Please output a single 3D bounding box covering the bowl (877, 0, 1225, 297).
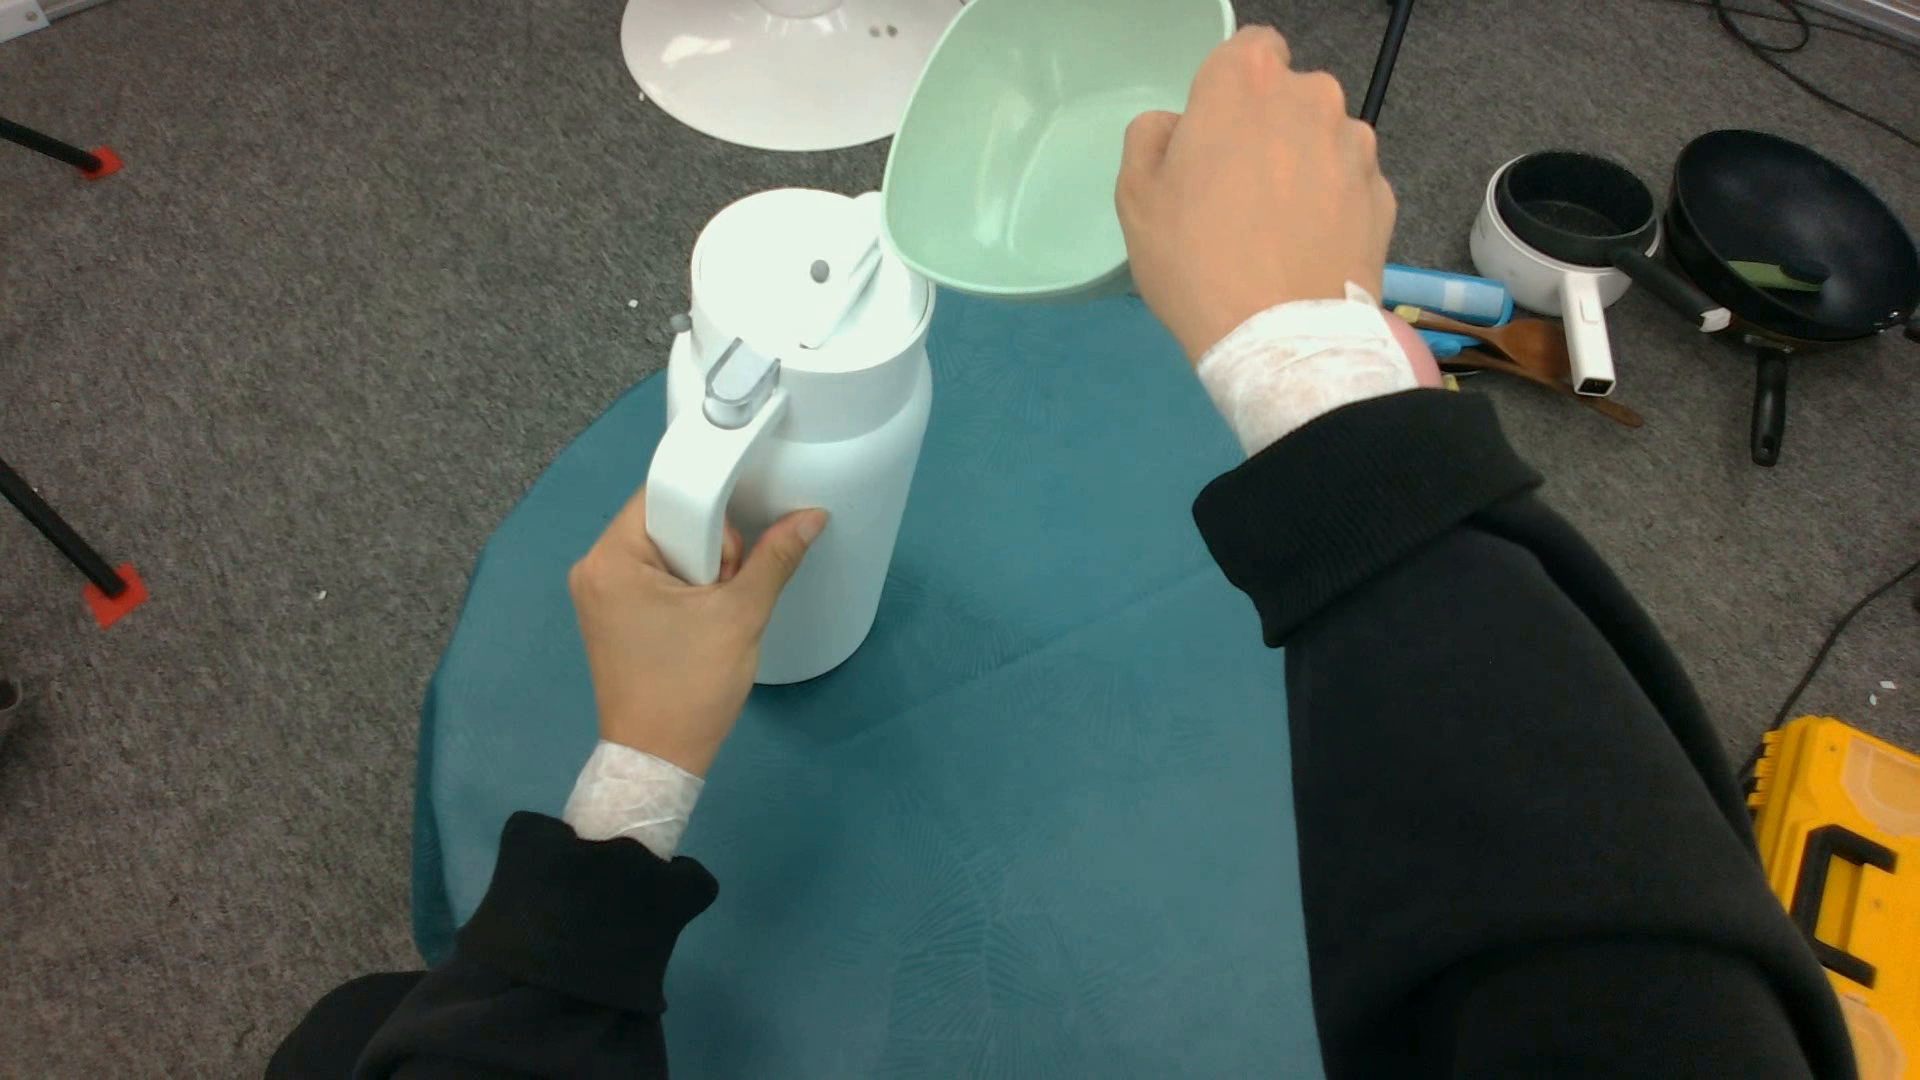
[{"bbox_3d":[0.043,-0.151,0.534,0.151,0.058,0.152,-11,69,31],"label":"bowl"}]

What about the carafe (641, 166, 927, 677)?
[{"bbox_3d":[-0.093,-0.029,0.652,0.124,0.267,0.173,27,56,2],"label":"carafe"}]
